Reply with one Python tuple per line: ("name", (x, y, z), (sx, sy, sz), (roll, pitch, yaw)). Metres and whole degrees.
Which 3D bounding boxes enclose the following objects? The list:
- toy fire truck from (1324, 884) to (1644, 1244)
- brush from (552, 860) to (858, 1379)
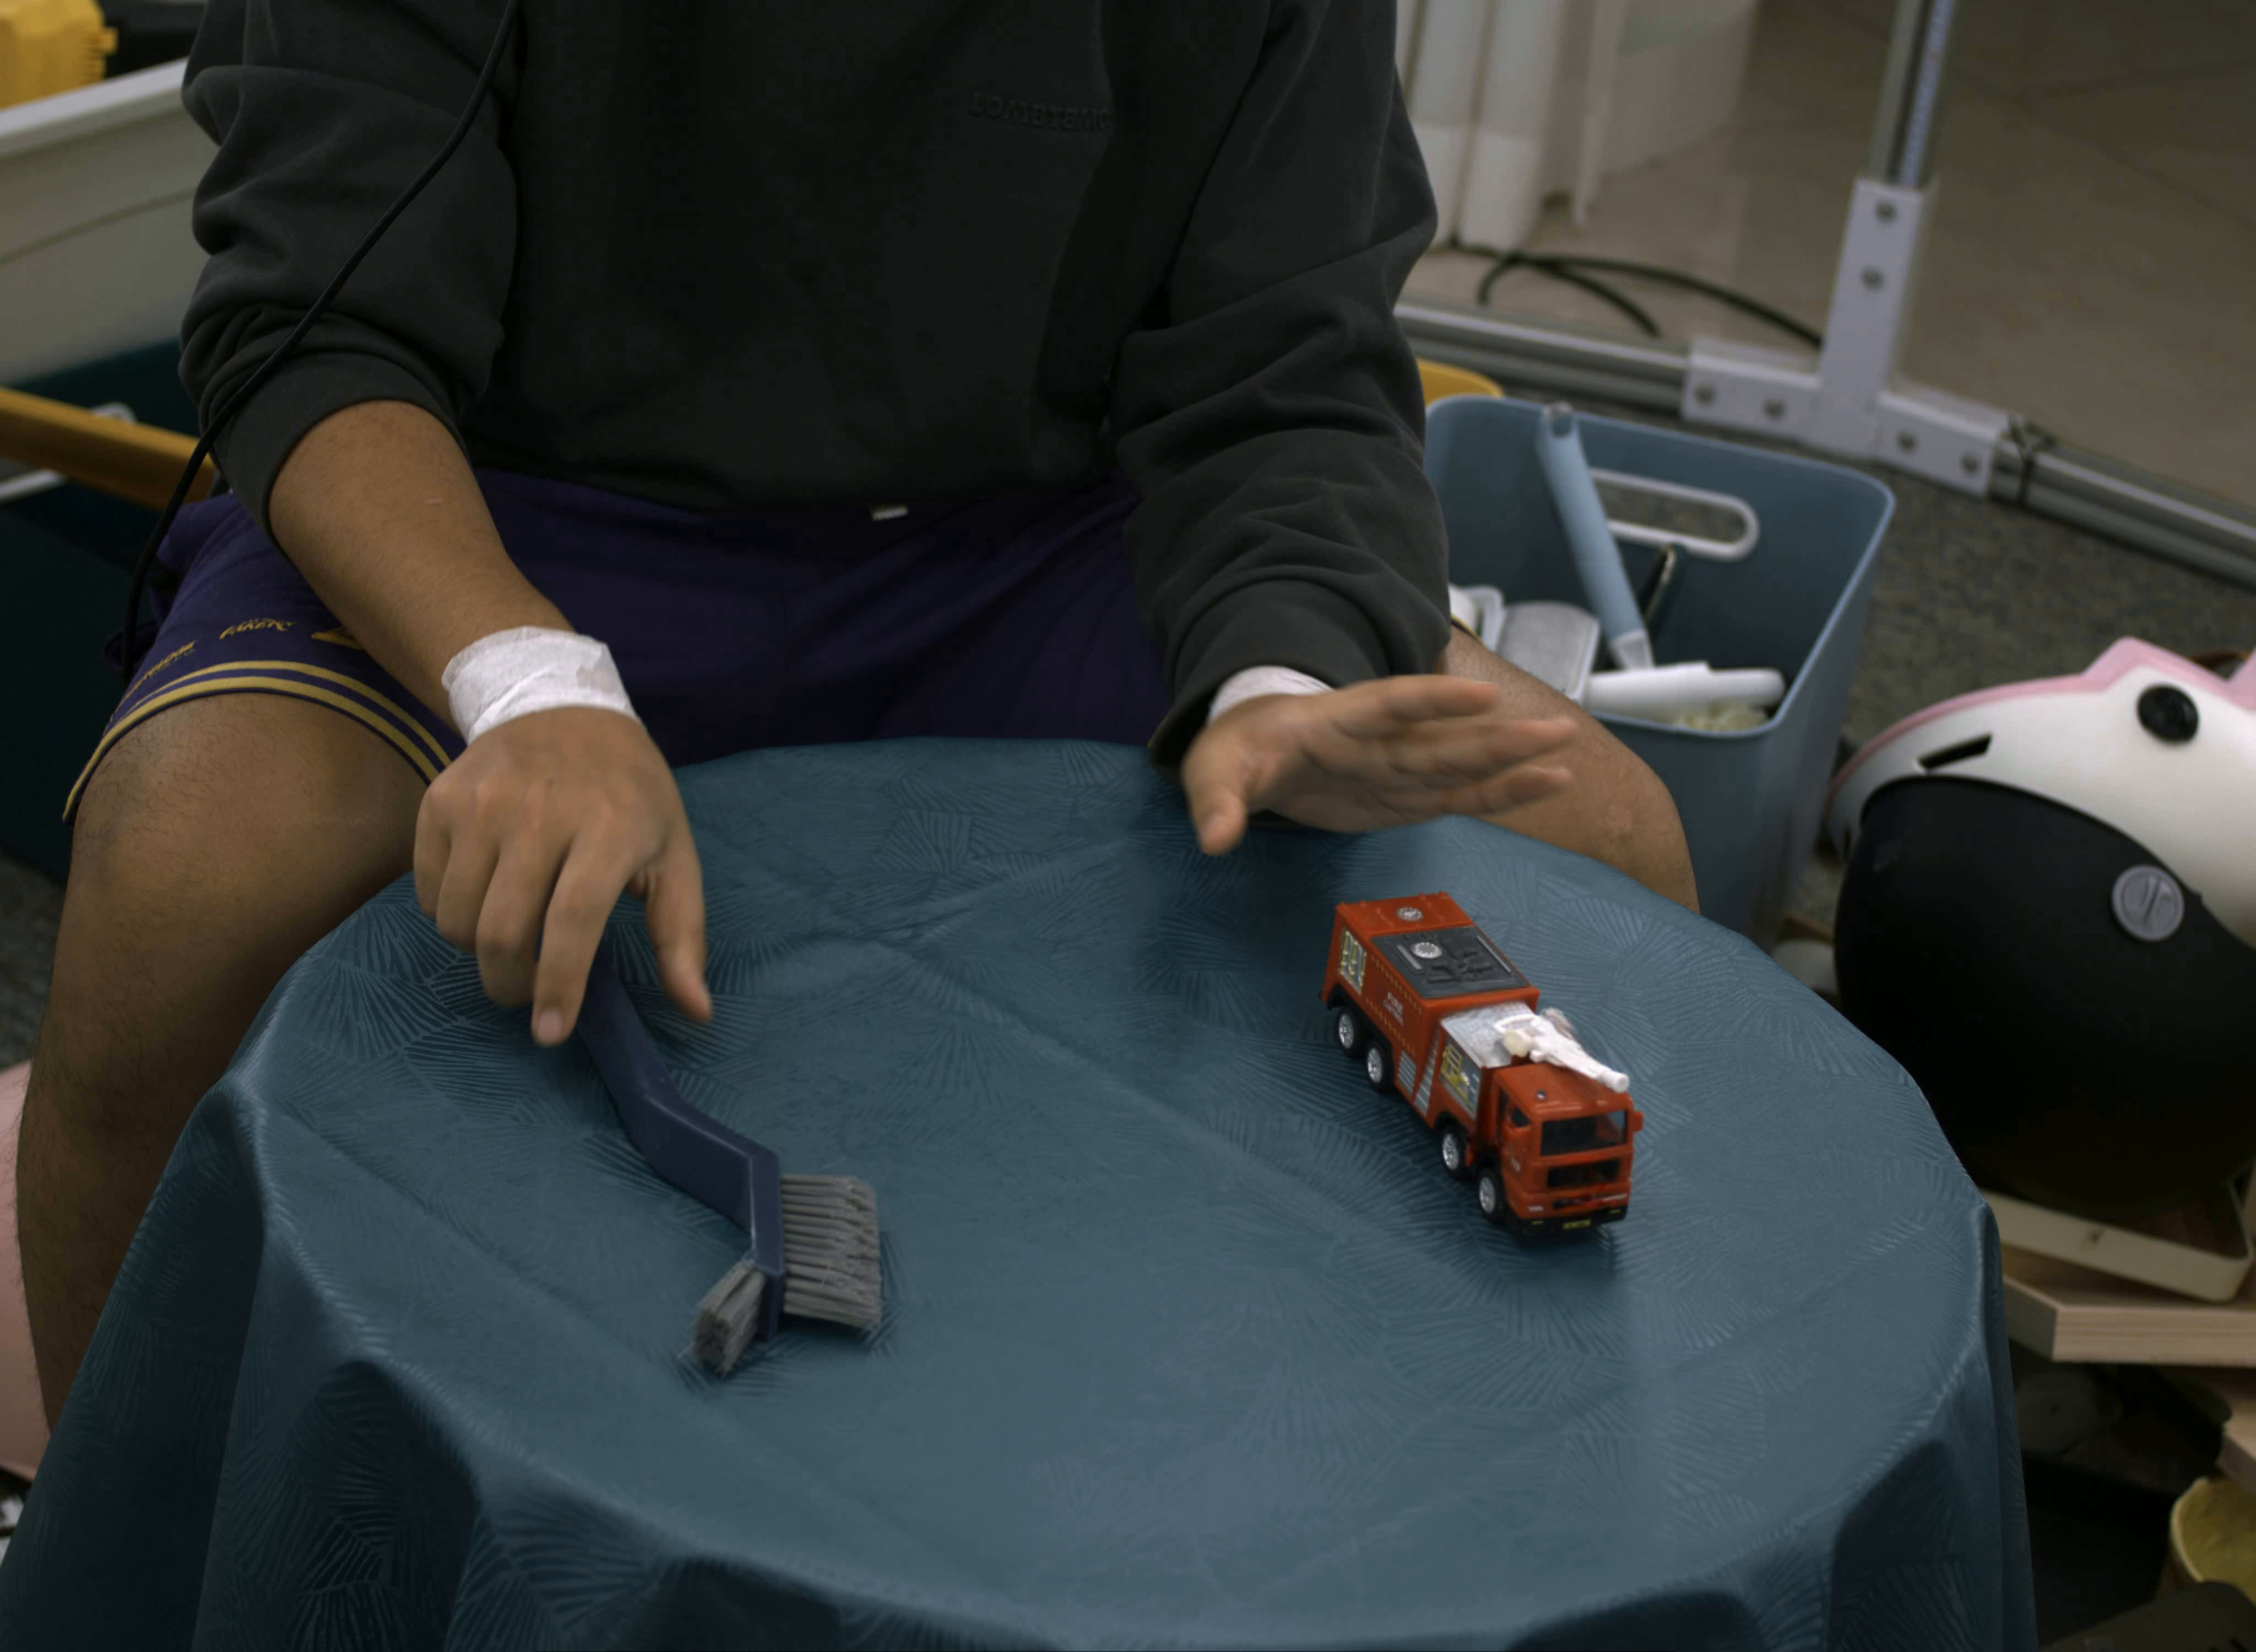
("toy fire truck", (0.123, 0.081, 1.847), (0.053, 0.070, 0.169), (-6, 29, -23))
("brush", (-0.165, 0.094, 1.787), (0.095, 0.033, 0.276), (-9, 32, -28))
